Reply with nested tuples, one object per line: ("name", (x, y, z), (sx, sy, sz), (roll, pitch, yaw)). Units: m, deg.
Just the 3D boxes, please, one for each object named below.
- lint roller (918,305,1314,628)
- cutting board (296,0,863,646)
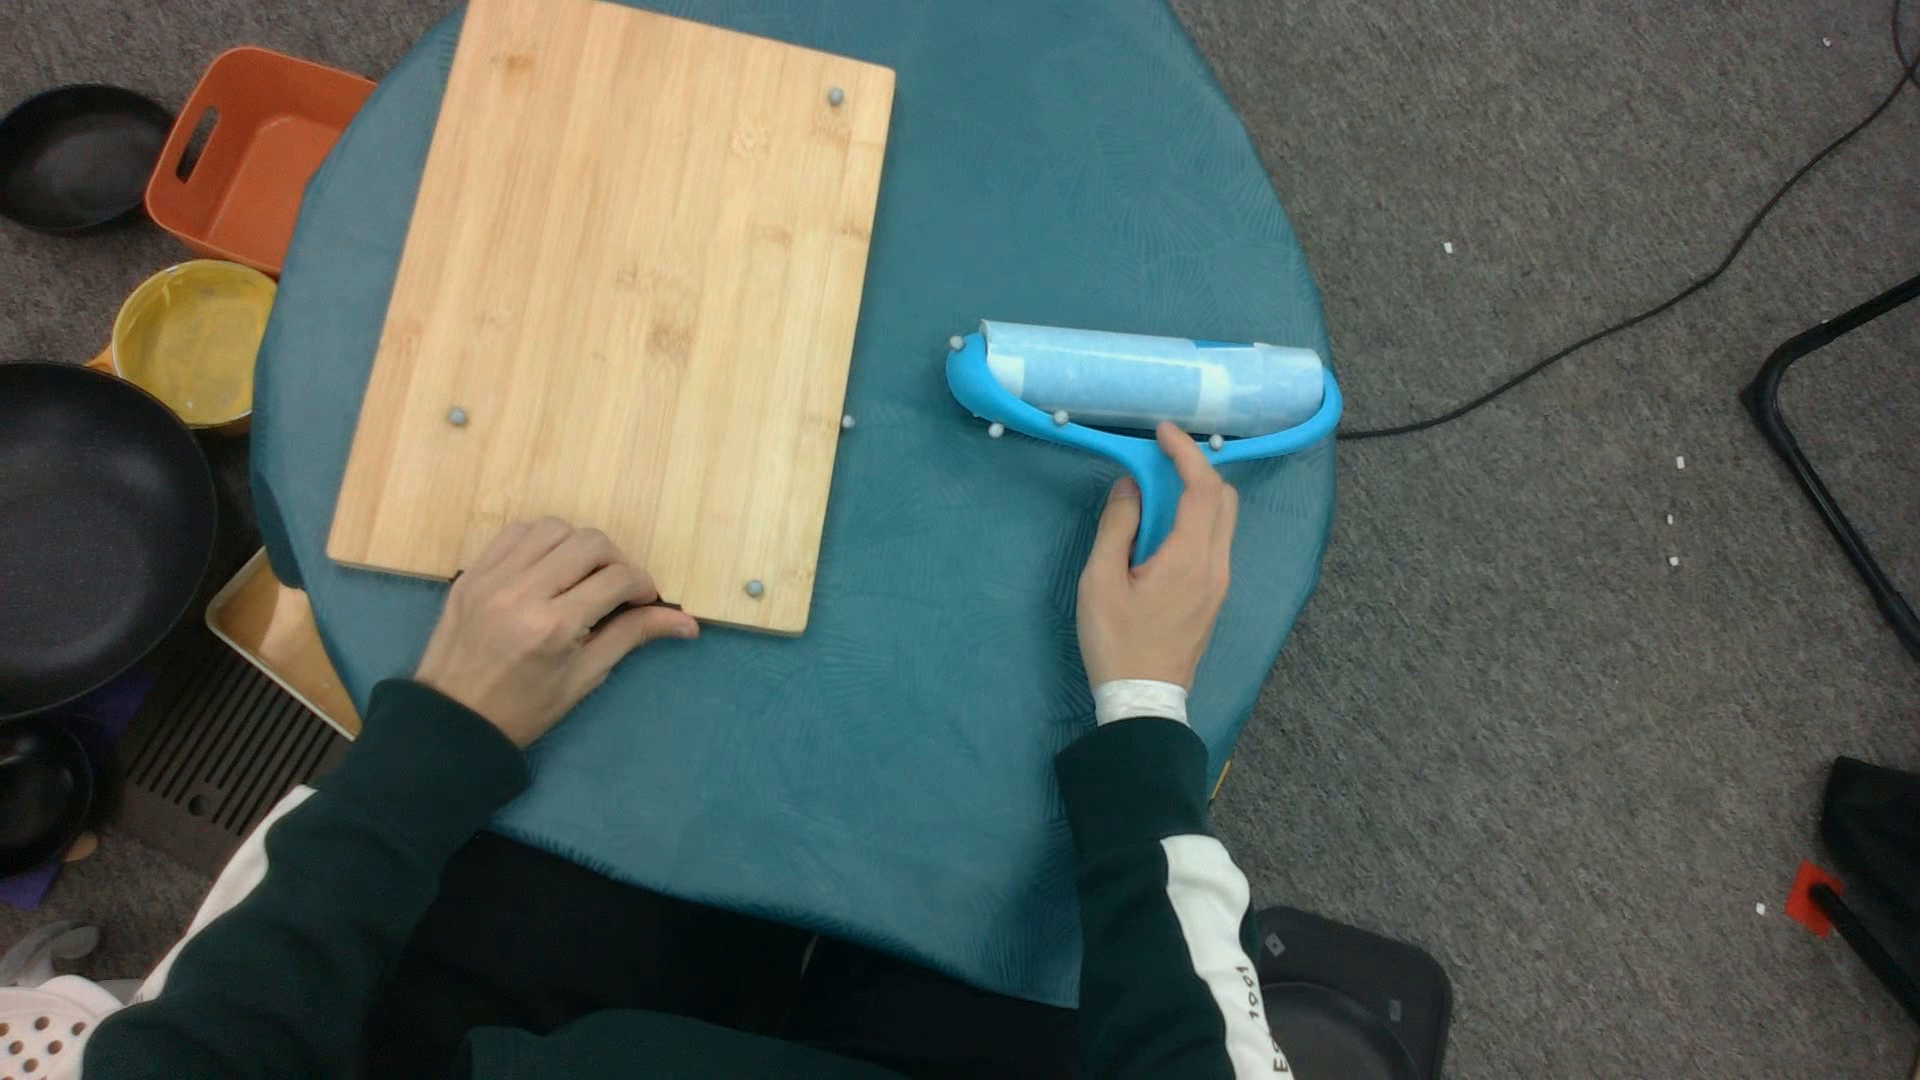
("lint roller", (0.094, -0.045, 0.766), (0.229, 0.067, 0.180), (-1, 76, -13))
("cutting board", (-0.194, -0.127, 0.751), (0.251, 0.023, 0.349), (7, 75, -9))
